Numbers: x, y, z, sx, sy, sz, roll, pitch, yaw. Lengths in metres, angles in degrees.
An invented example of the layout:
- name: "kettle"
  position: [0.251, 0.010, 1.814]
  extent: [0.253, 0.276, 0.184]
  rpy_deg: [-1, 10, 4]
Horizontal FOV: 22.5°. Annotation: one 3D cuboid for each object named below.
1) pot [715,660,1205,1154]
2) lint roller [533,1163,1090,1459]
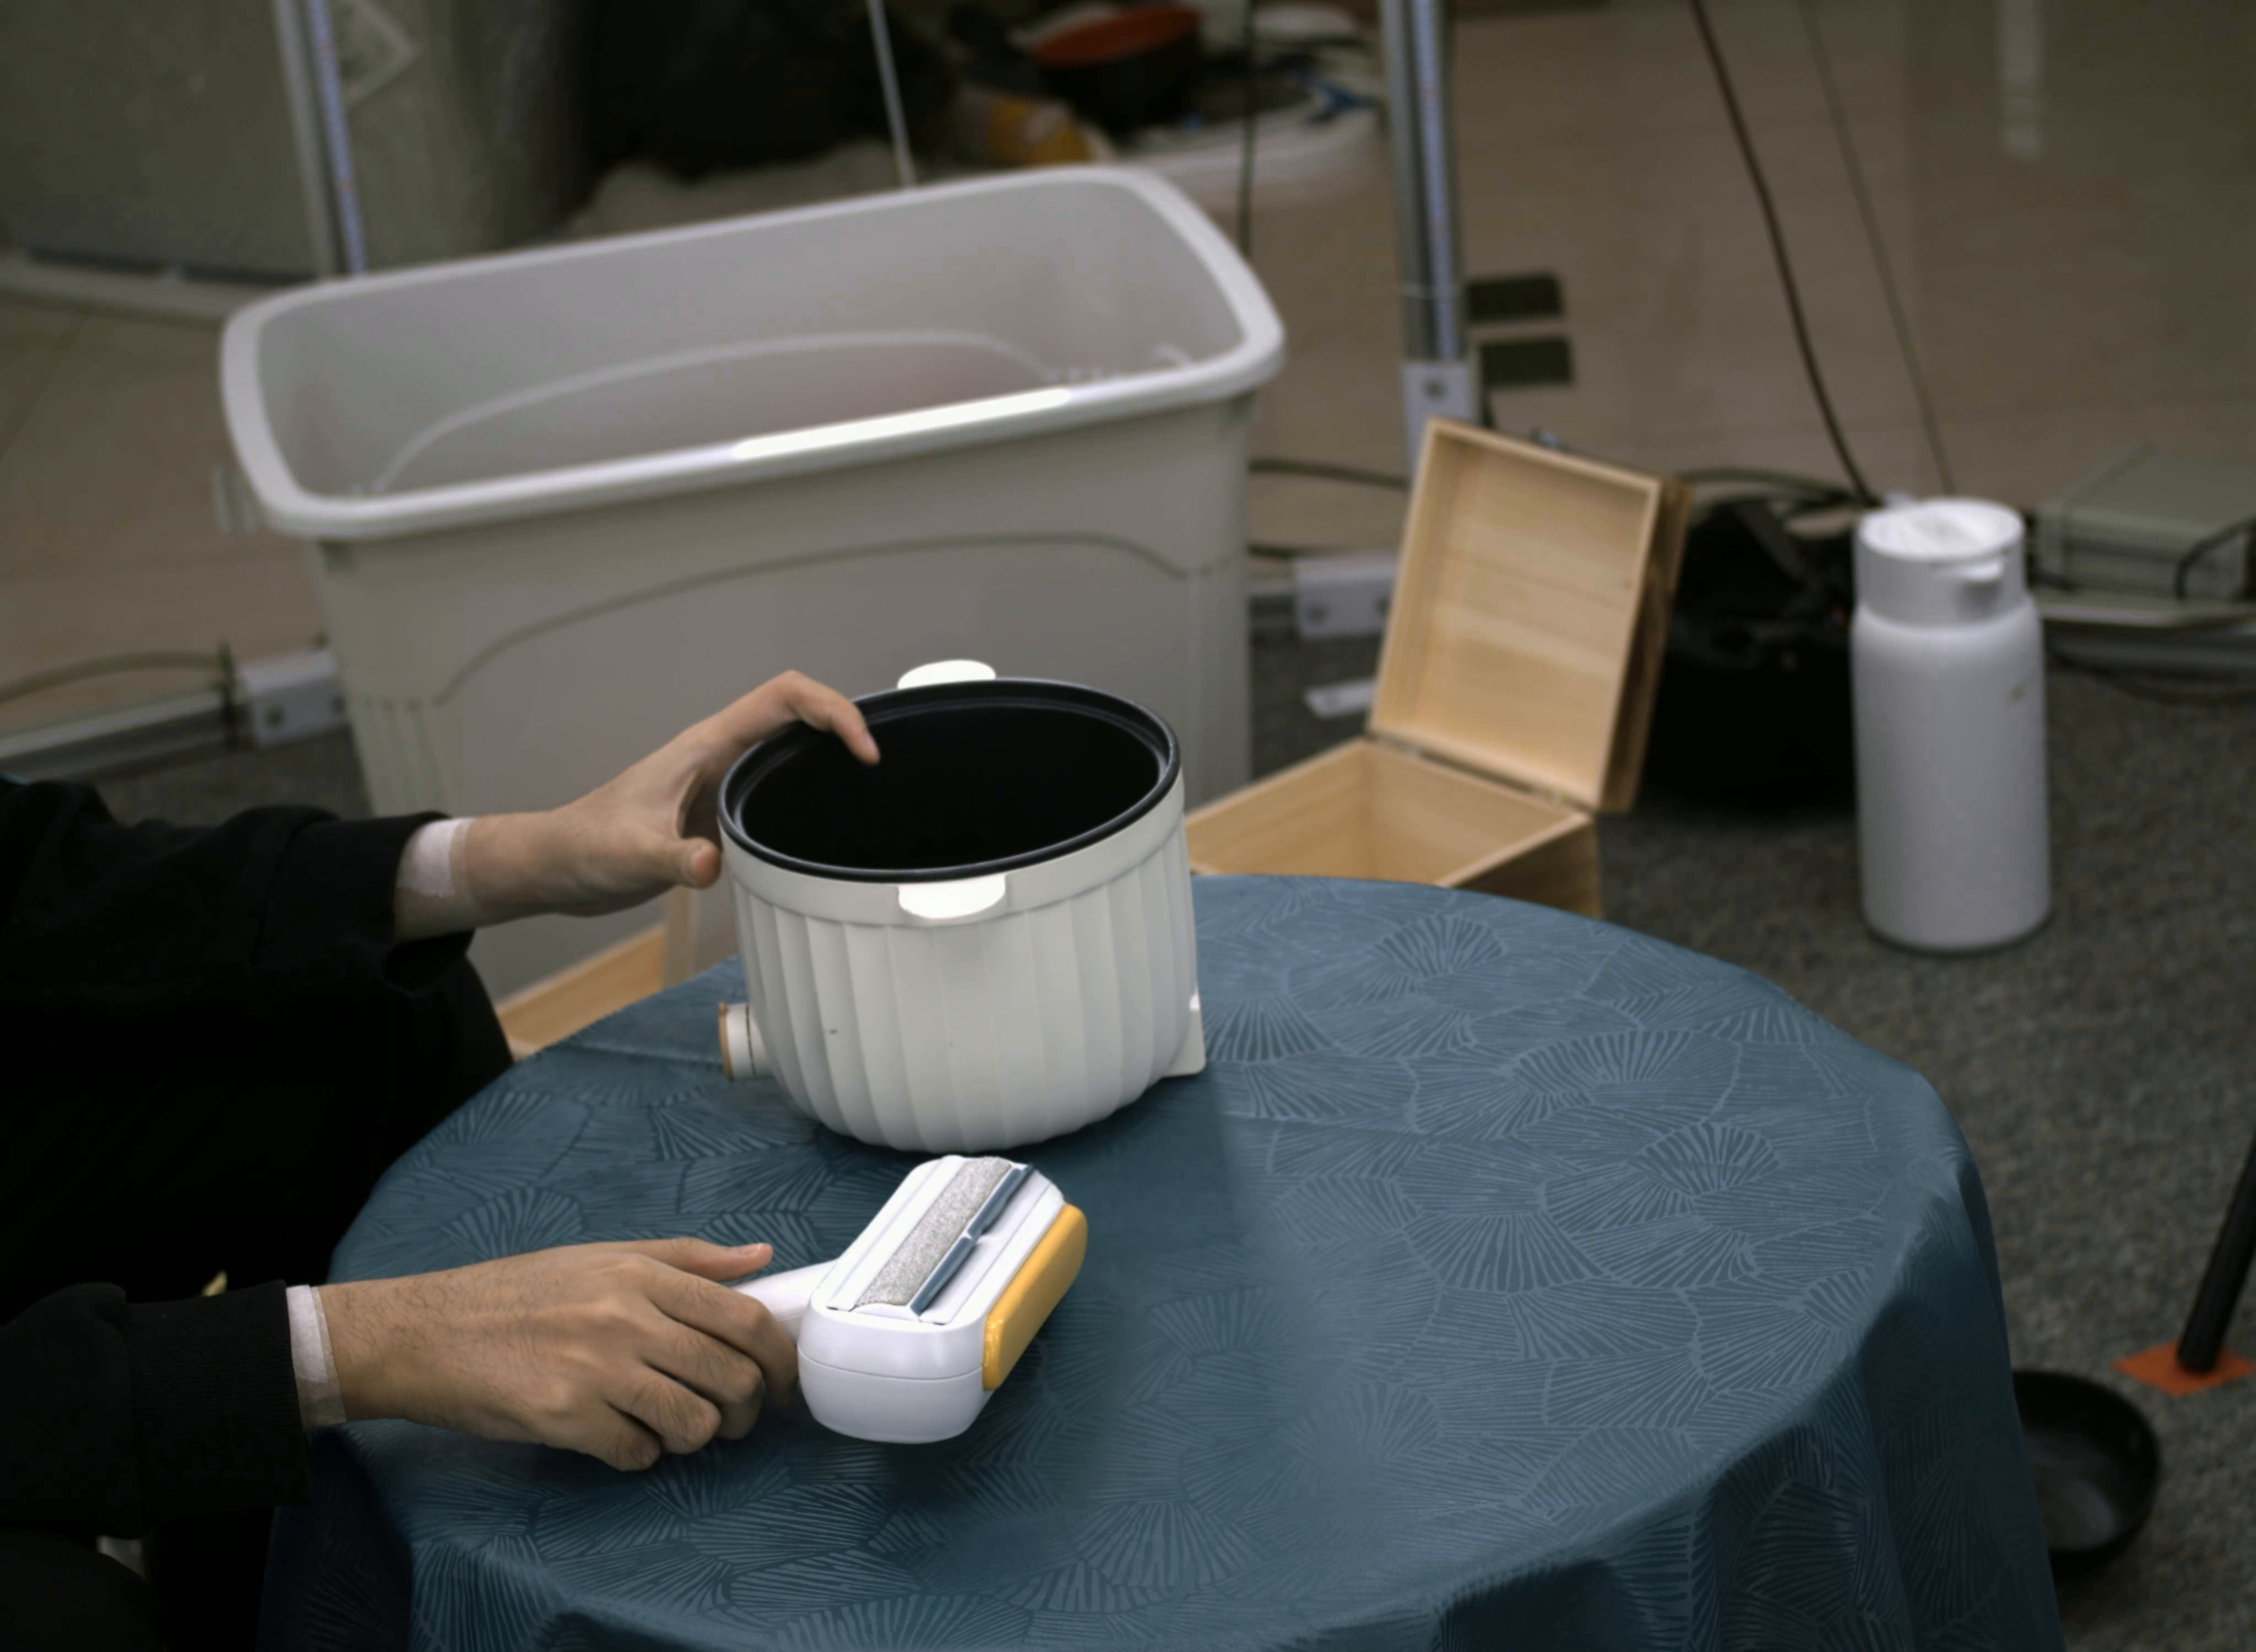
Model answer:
- name: "pot"
  position: [-0.068, 0.040, 2.205]
  extent: [0.190, 0.145, 0.237]
  rpy_deg: [-4, 24, -1]
- name: "lint roller"
  position: [-0.123, 0.175, 2.016]
  extent: [0.192, 0.075, 0.190]
  rpy_deg: [0, 19, 16]
